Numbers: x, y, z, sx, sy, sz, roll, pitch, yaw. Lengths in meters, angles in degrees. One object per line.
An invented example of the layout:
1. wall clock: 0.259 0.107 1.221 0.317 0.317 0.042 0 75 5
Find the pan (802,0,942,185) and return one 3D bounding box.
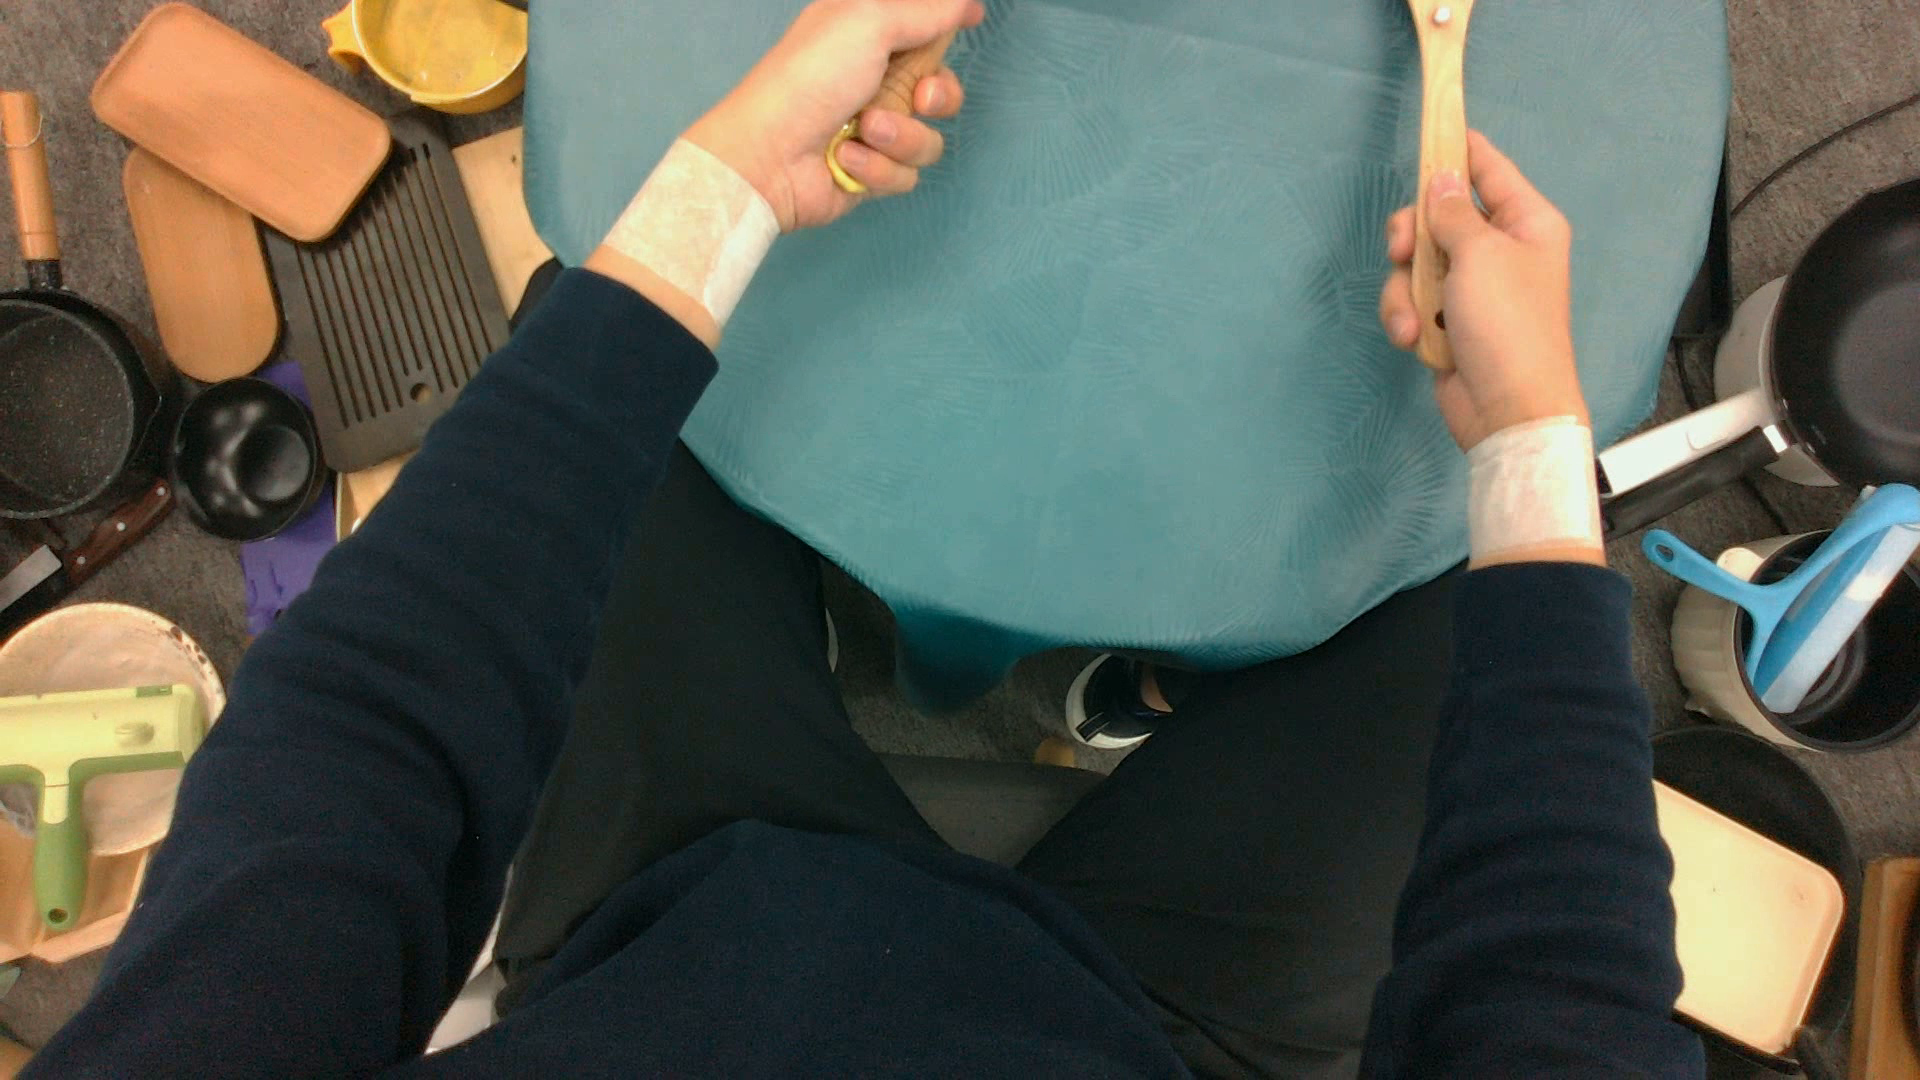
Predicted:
1. pan: -0.002 -0.294 0.630 0.169 0.049 0.325 24 75 -2

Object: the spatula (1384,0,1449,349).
1. spatula: 0.215 -0.245 0.656 0.080 0.016 0.328 6 74 -10
